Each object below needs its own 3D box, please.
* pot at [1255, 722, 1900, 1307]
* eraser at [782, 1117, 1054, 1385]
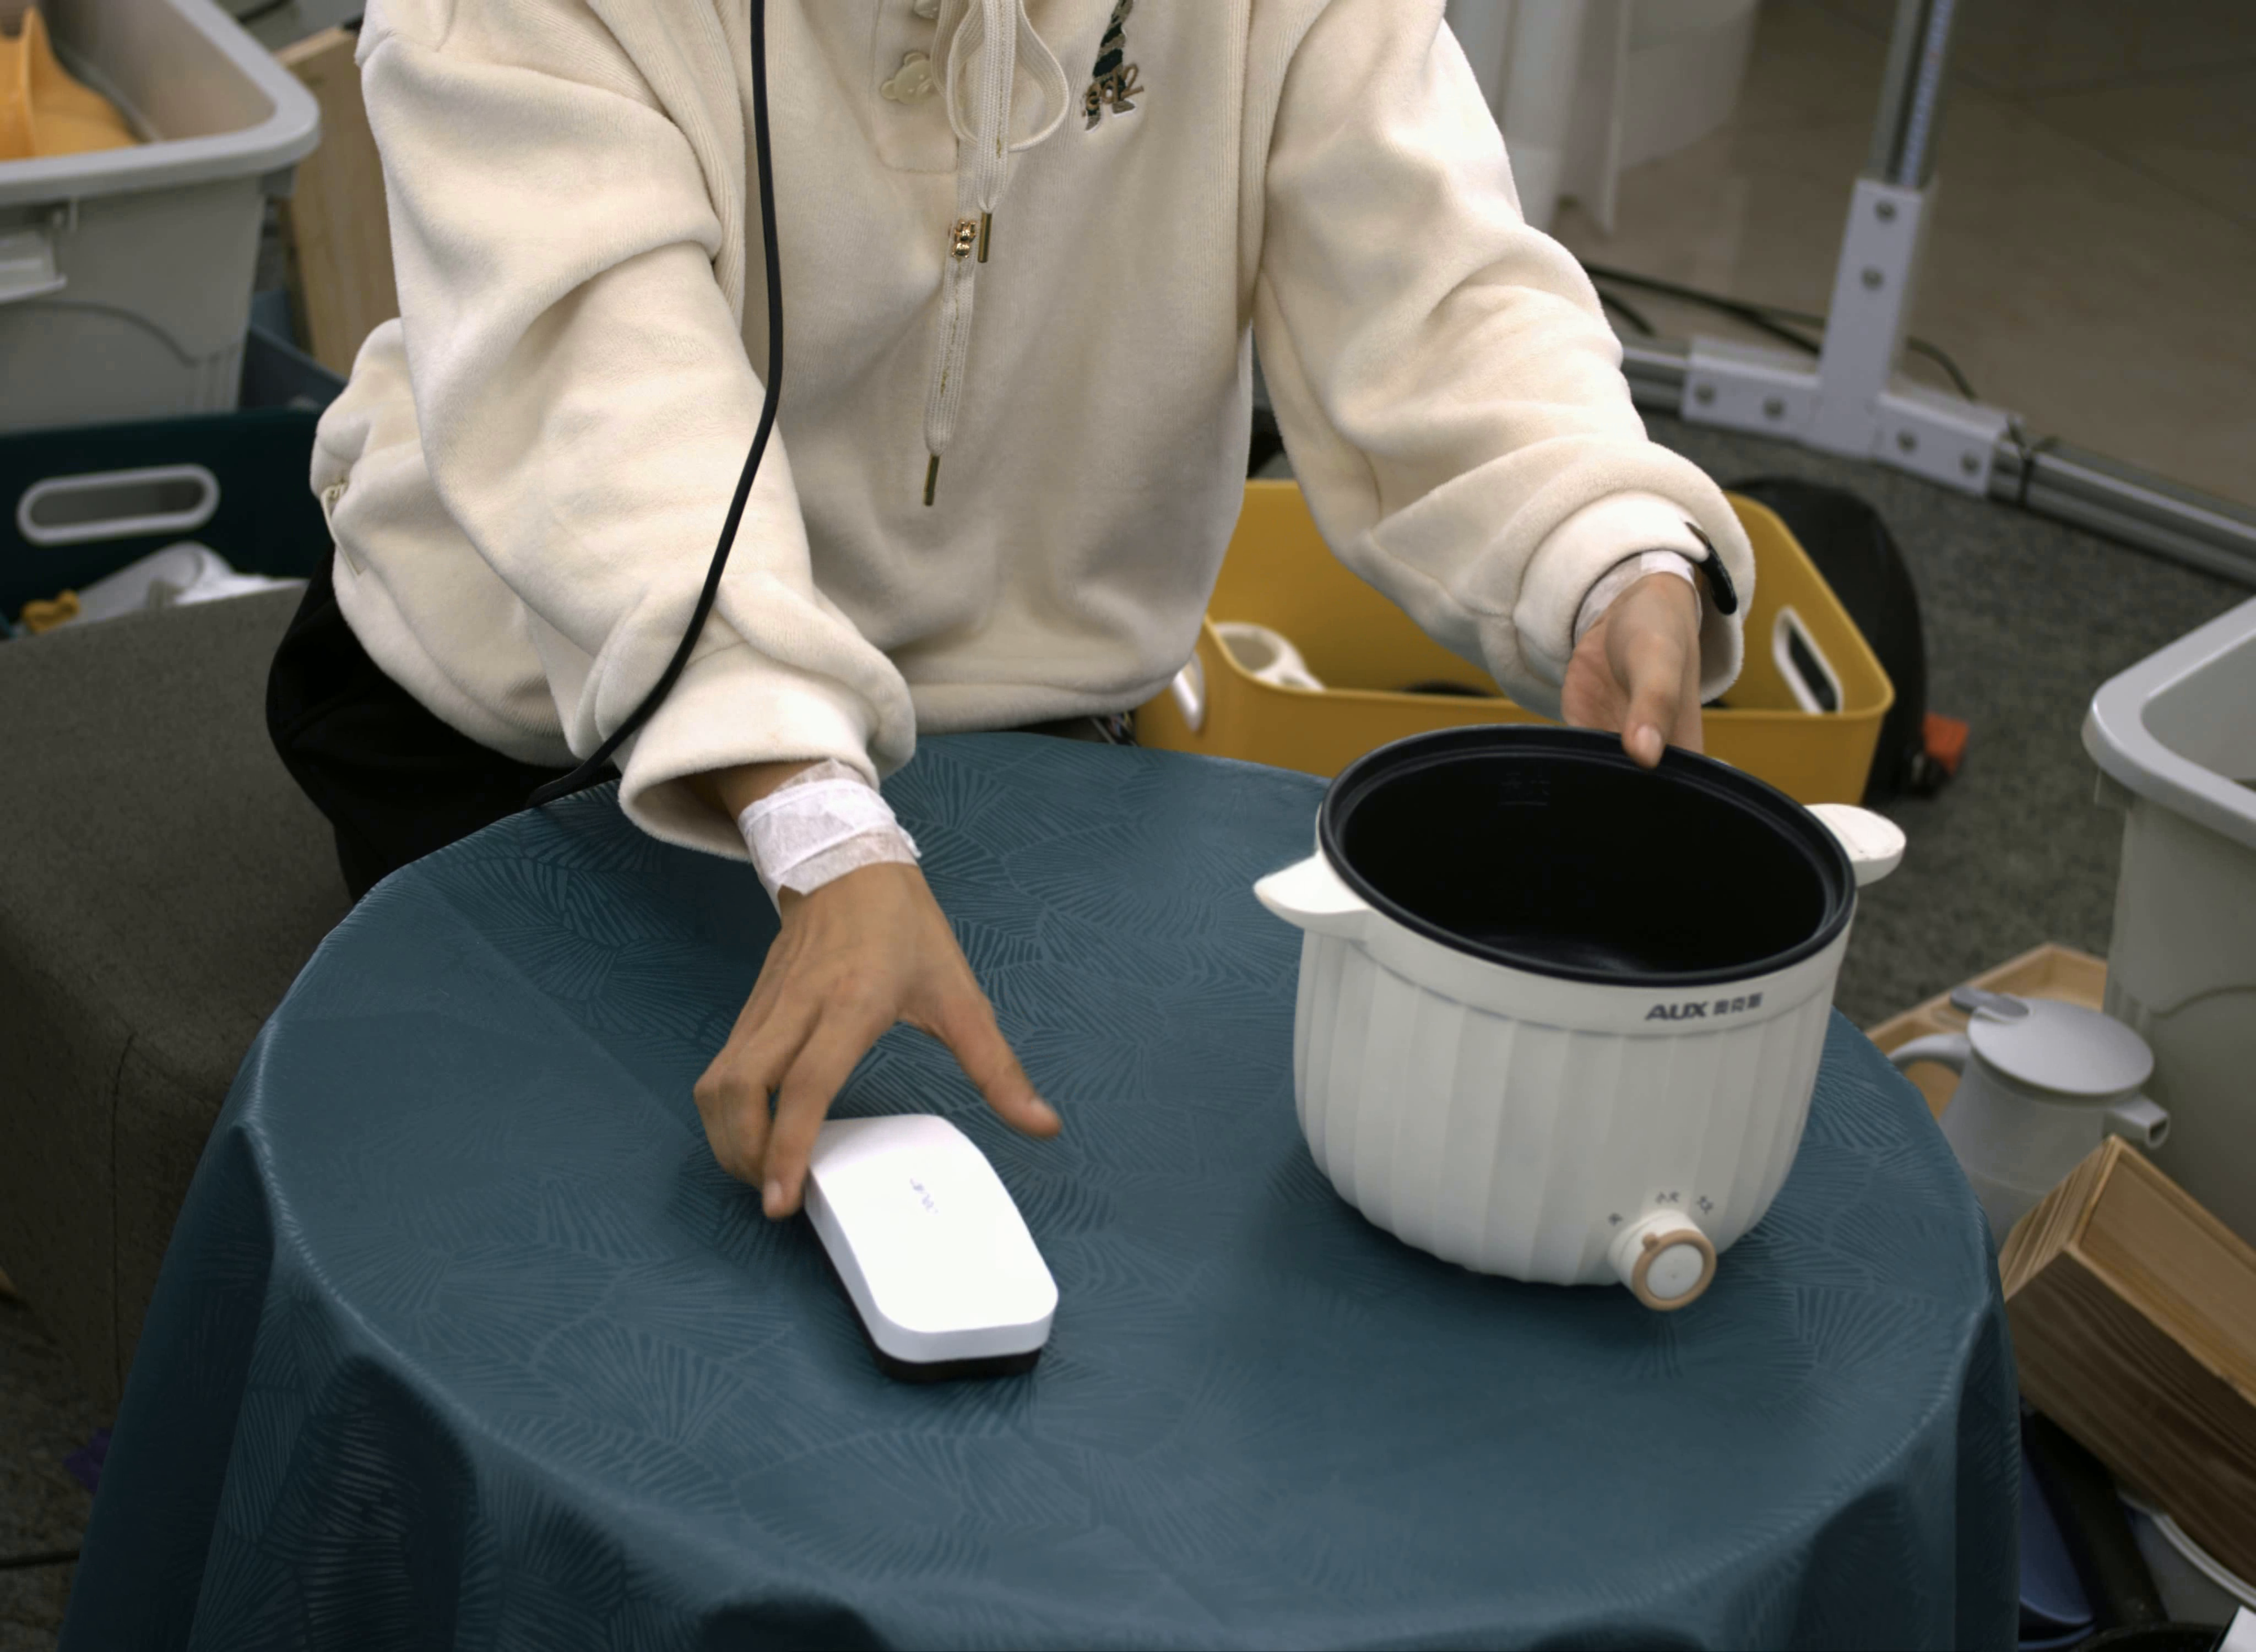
[{"bbox_3d":[0.149,0.067,1.794,0.239,0.142,0.192,-6,26,-22],"label":"pot"},{"bbox_3d":[-0.069,0.134,1.732,0.063,0.034,0.132,-2,28,-20],"label":"eraser"}]
